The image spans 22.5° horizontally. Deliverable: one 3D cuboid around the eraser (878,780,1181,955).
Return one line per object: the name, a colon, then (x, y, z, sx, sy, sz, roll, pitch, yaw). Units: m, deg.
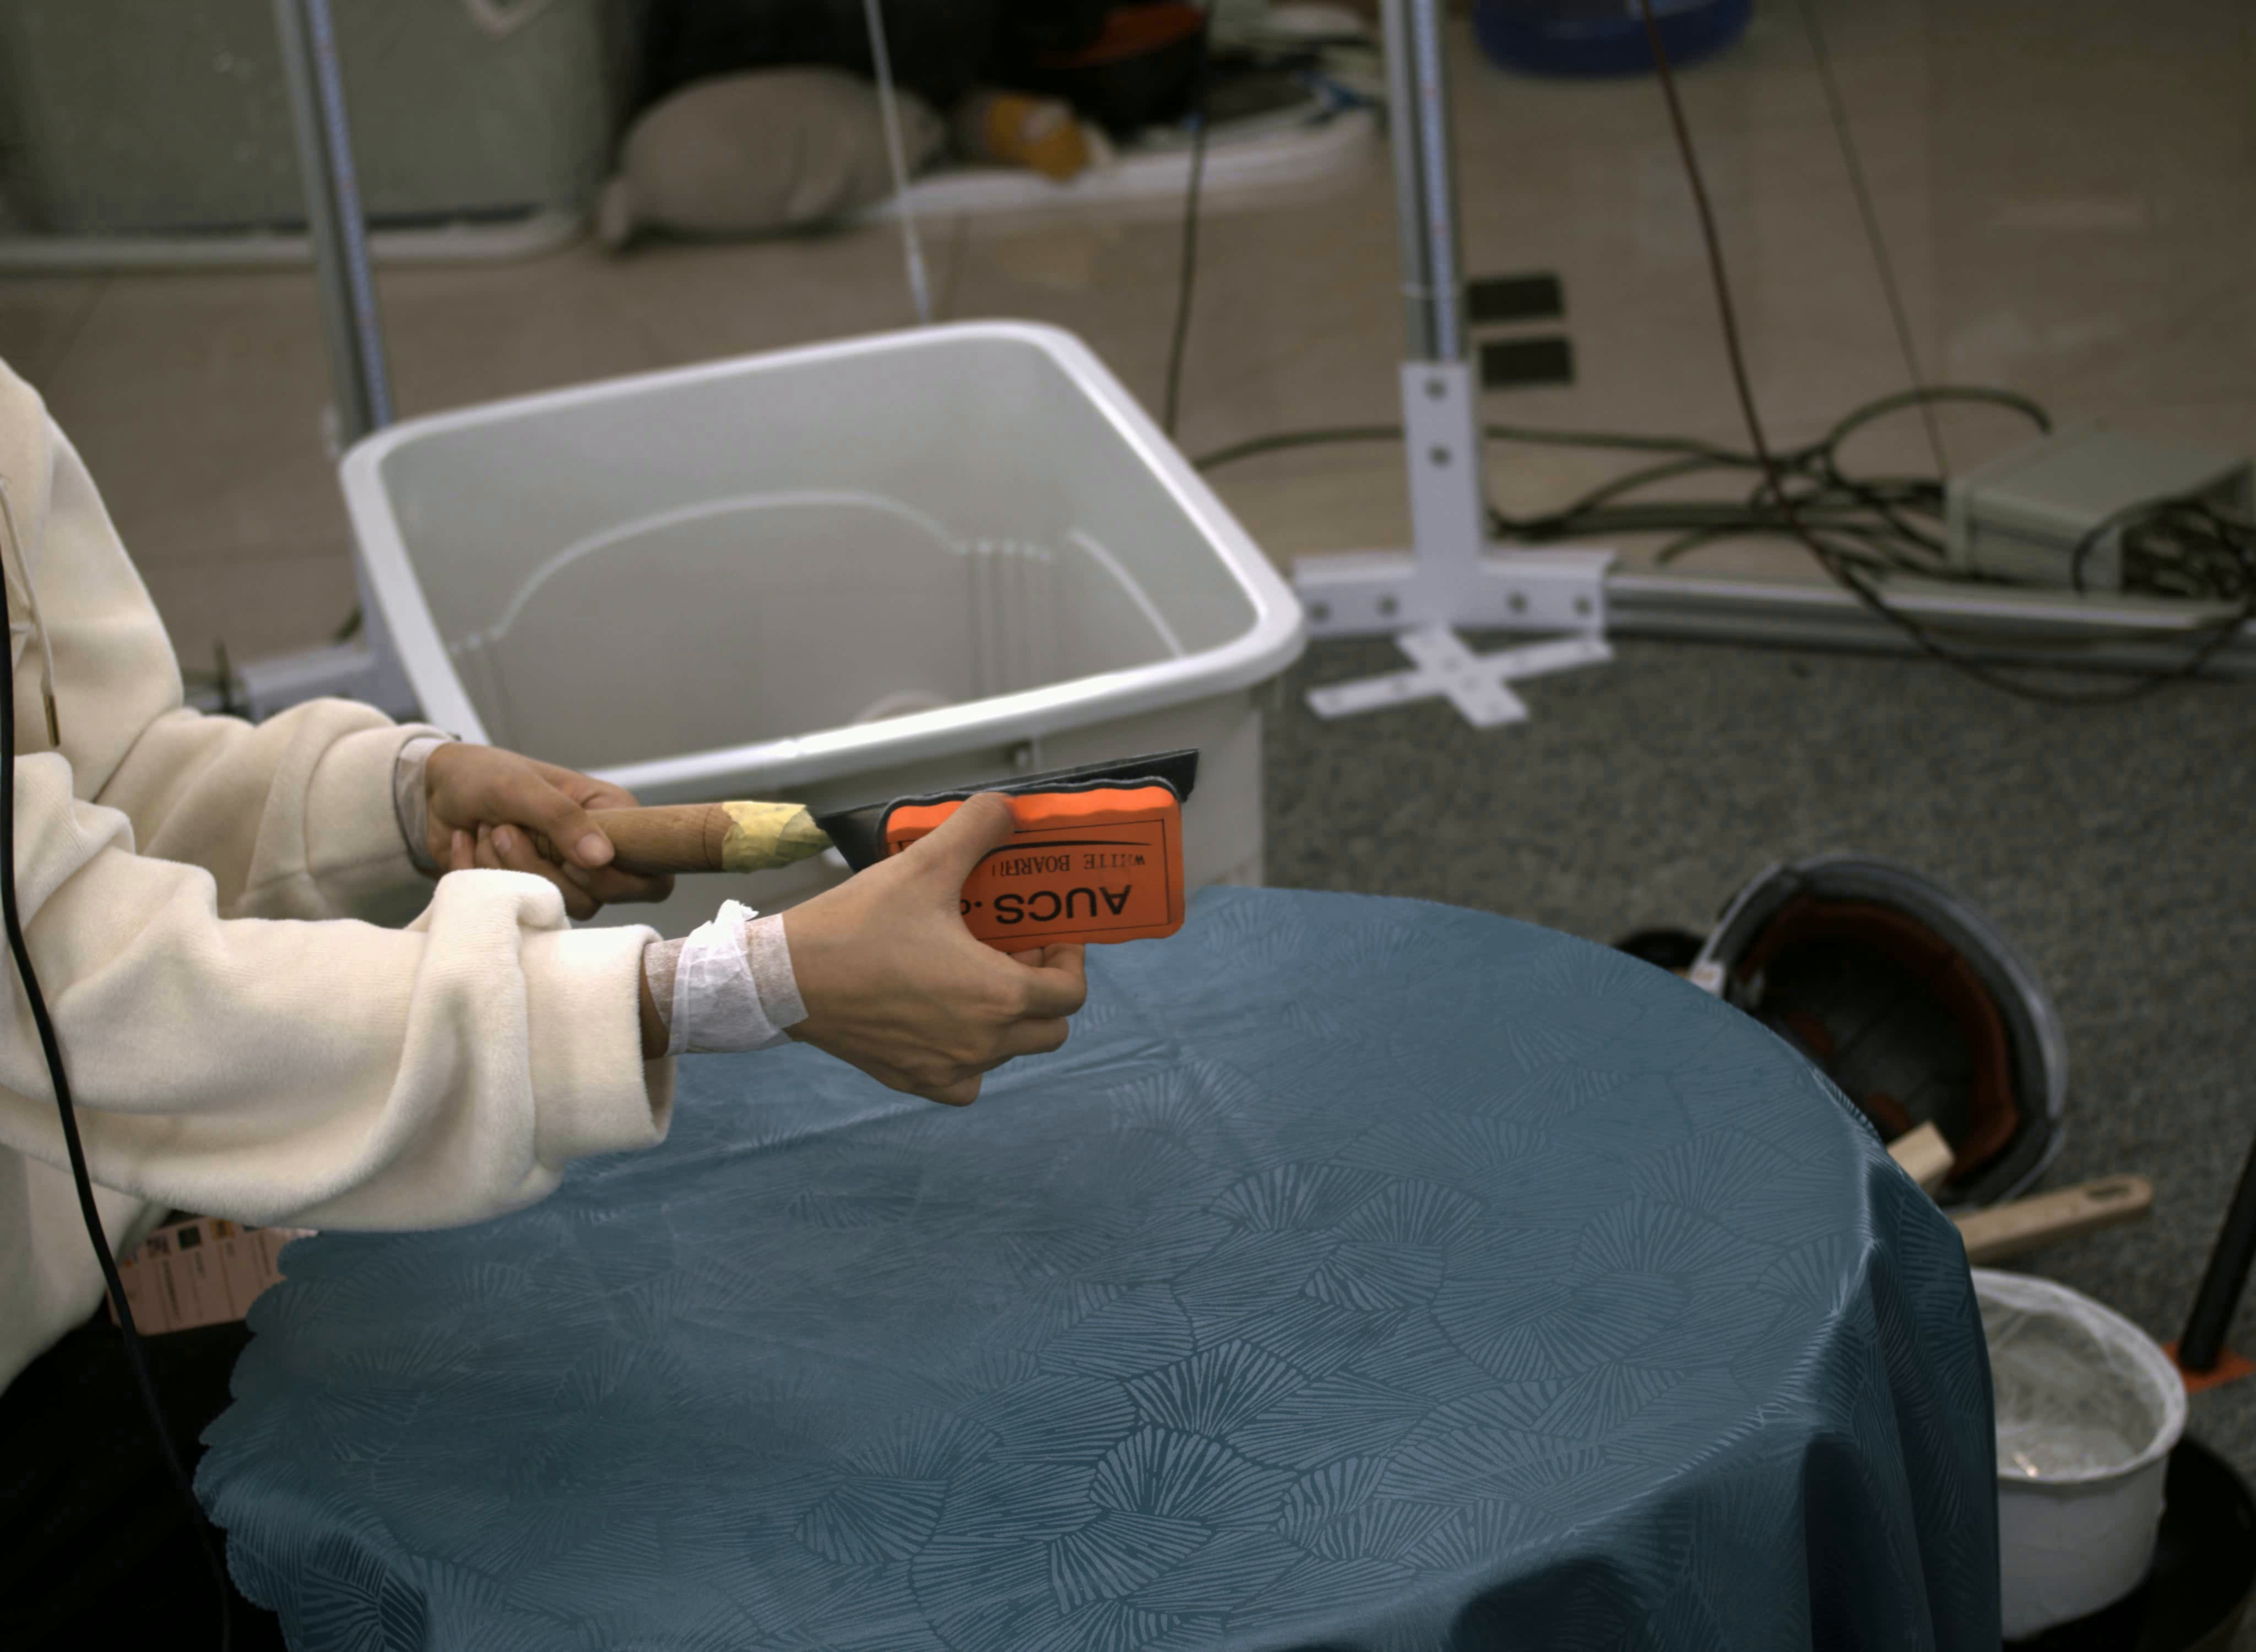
eraser: (-0.035, 0.015, 2.048, 0.108, 0.060, 0.022, -4, 33, -2)

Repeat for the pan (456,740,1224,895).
pan: (-0.115, 0.002, 2.159, 0.324, 0.050, 0.168, -8, 3, 26)
